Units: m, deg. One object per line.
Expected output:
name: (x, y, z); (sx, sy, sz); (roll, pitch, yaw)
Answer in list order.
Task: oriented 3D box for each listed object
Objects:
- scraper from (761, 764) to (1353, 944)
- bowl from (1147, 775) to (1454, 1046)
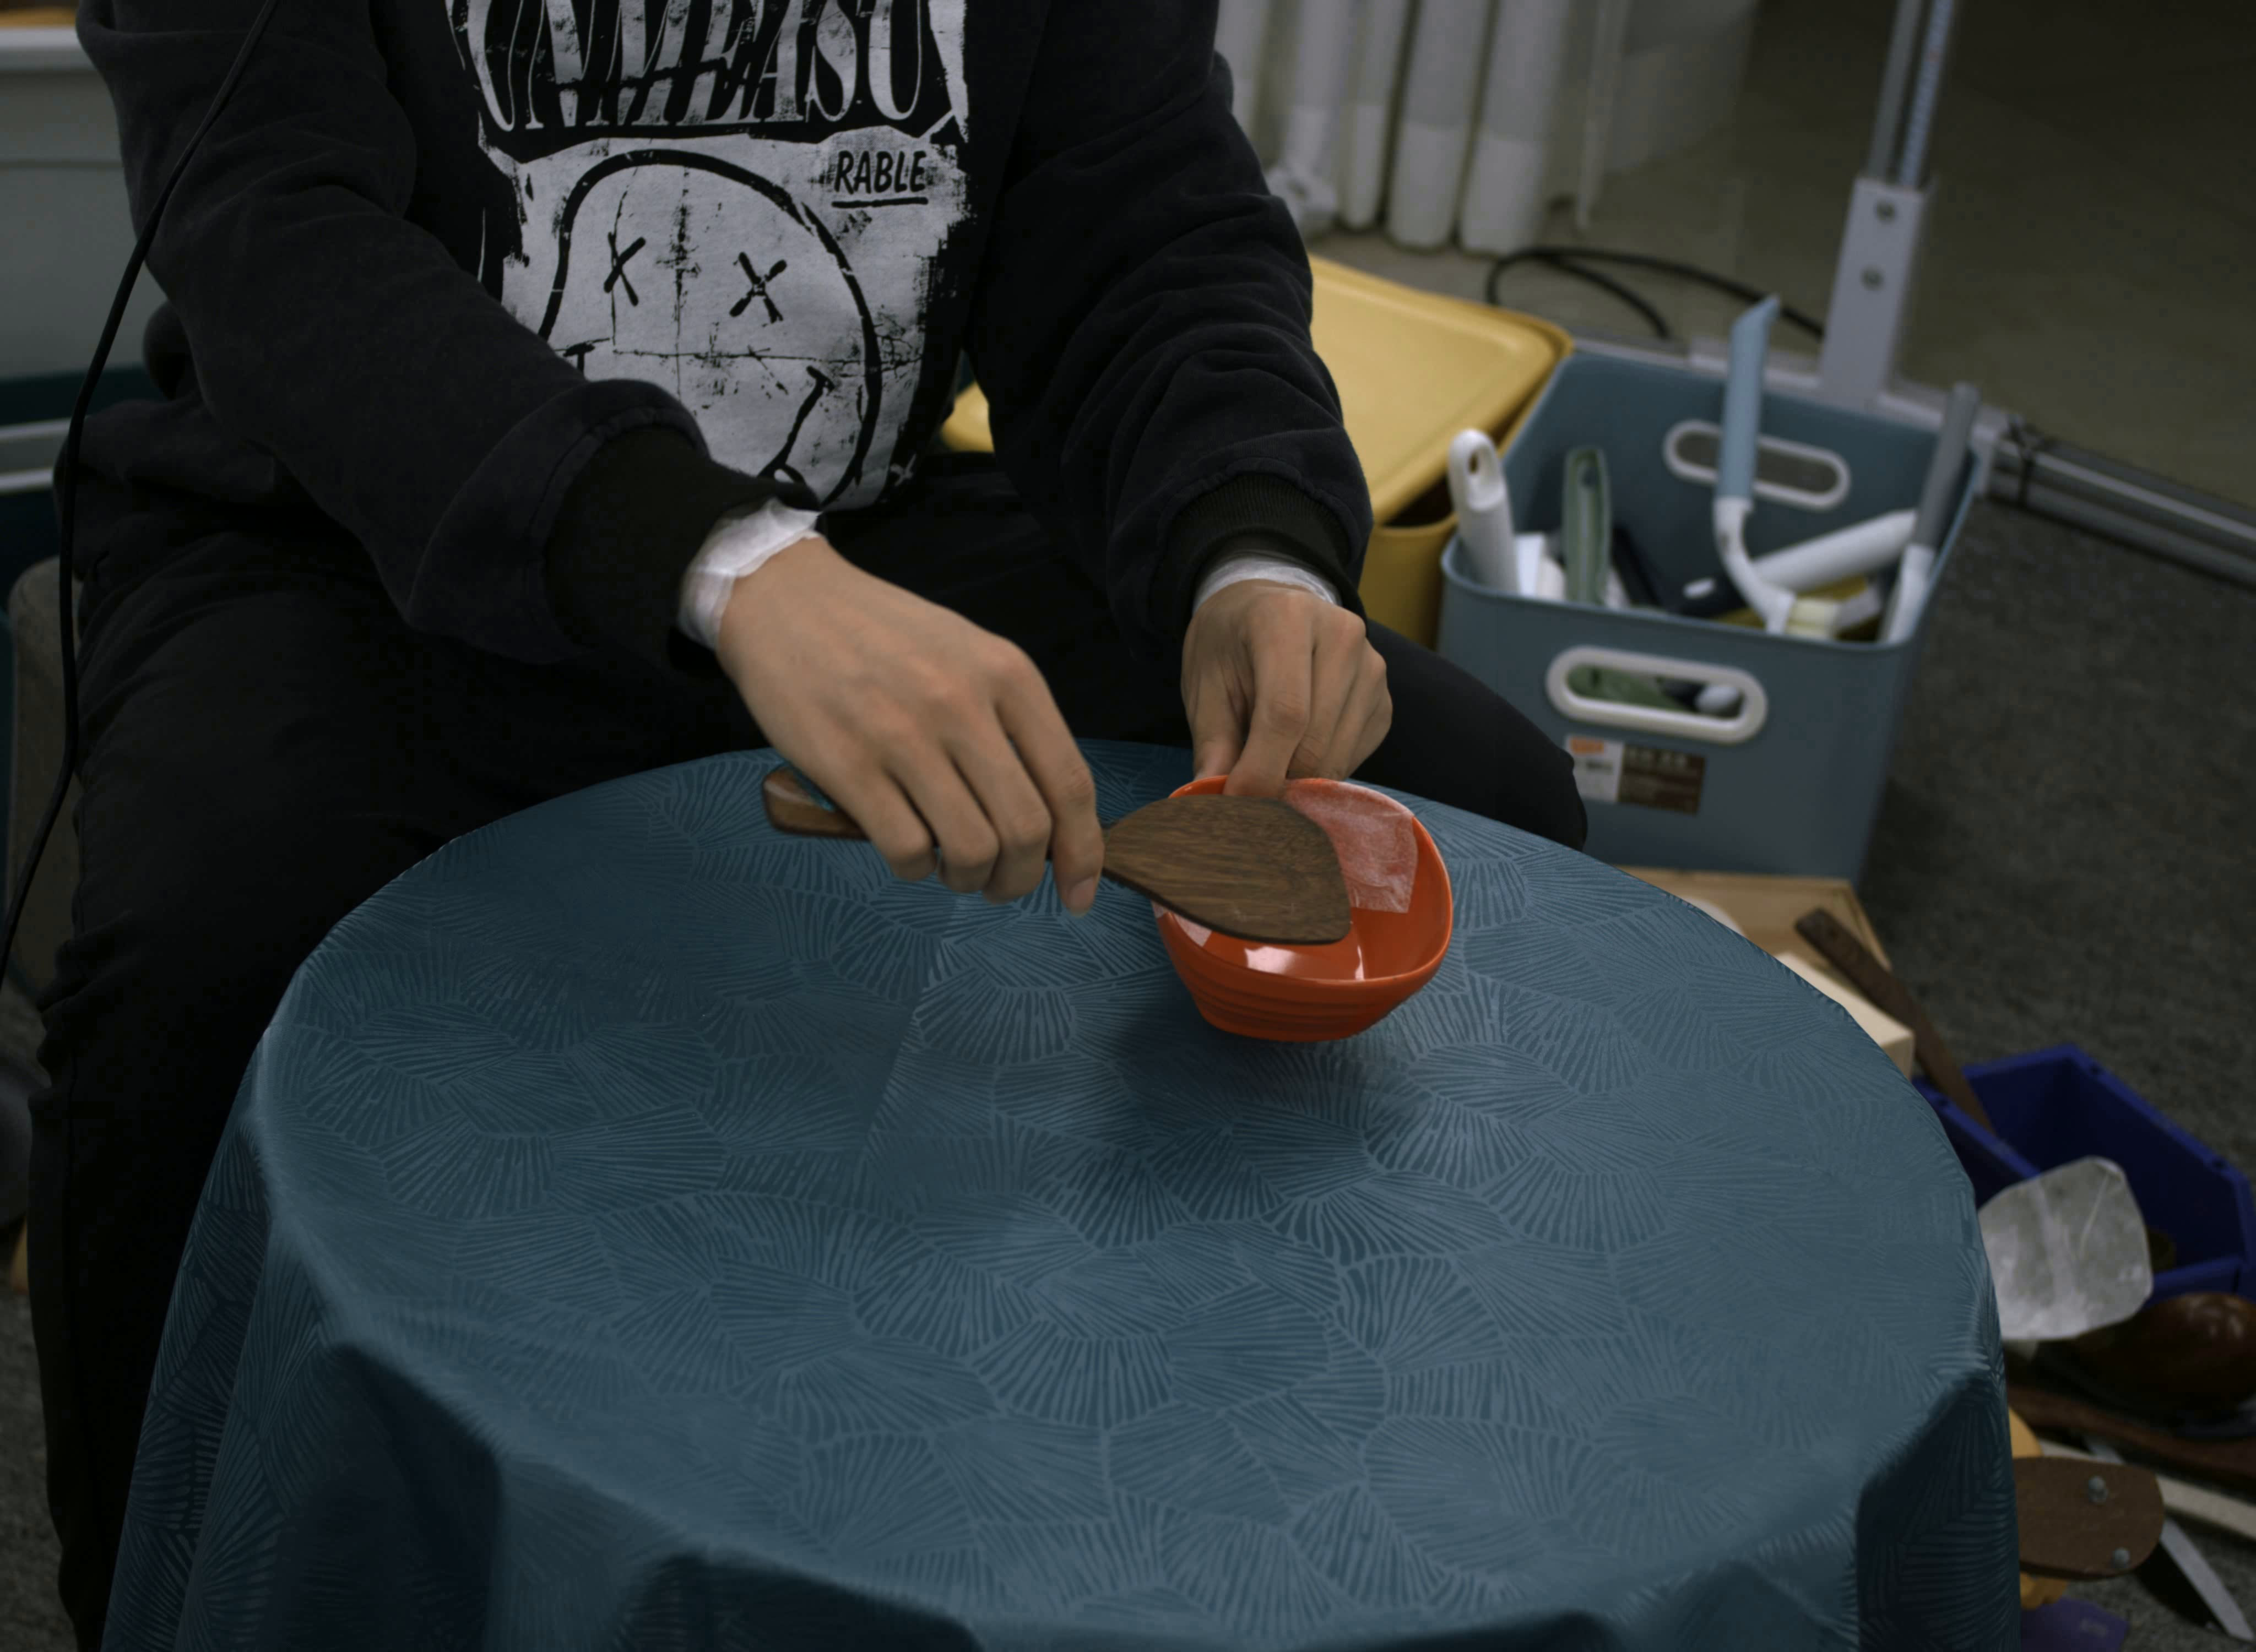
scraper: (-0.024, 0.003, 1.811); (0.210, 0.011, 0.076); (9, 37, -20)
bowl: (0.057, 0.037, 1.898); (0.118, 0.051, 0.120); (7, 42, -7)
